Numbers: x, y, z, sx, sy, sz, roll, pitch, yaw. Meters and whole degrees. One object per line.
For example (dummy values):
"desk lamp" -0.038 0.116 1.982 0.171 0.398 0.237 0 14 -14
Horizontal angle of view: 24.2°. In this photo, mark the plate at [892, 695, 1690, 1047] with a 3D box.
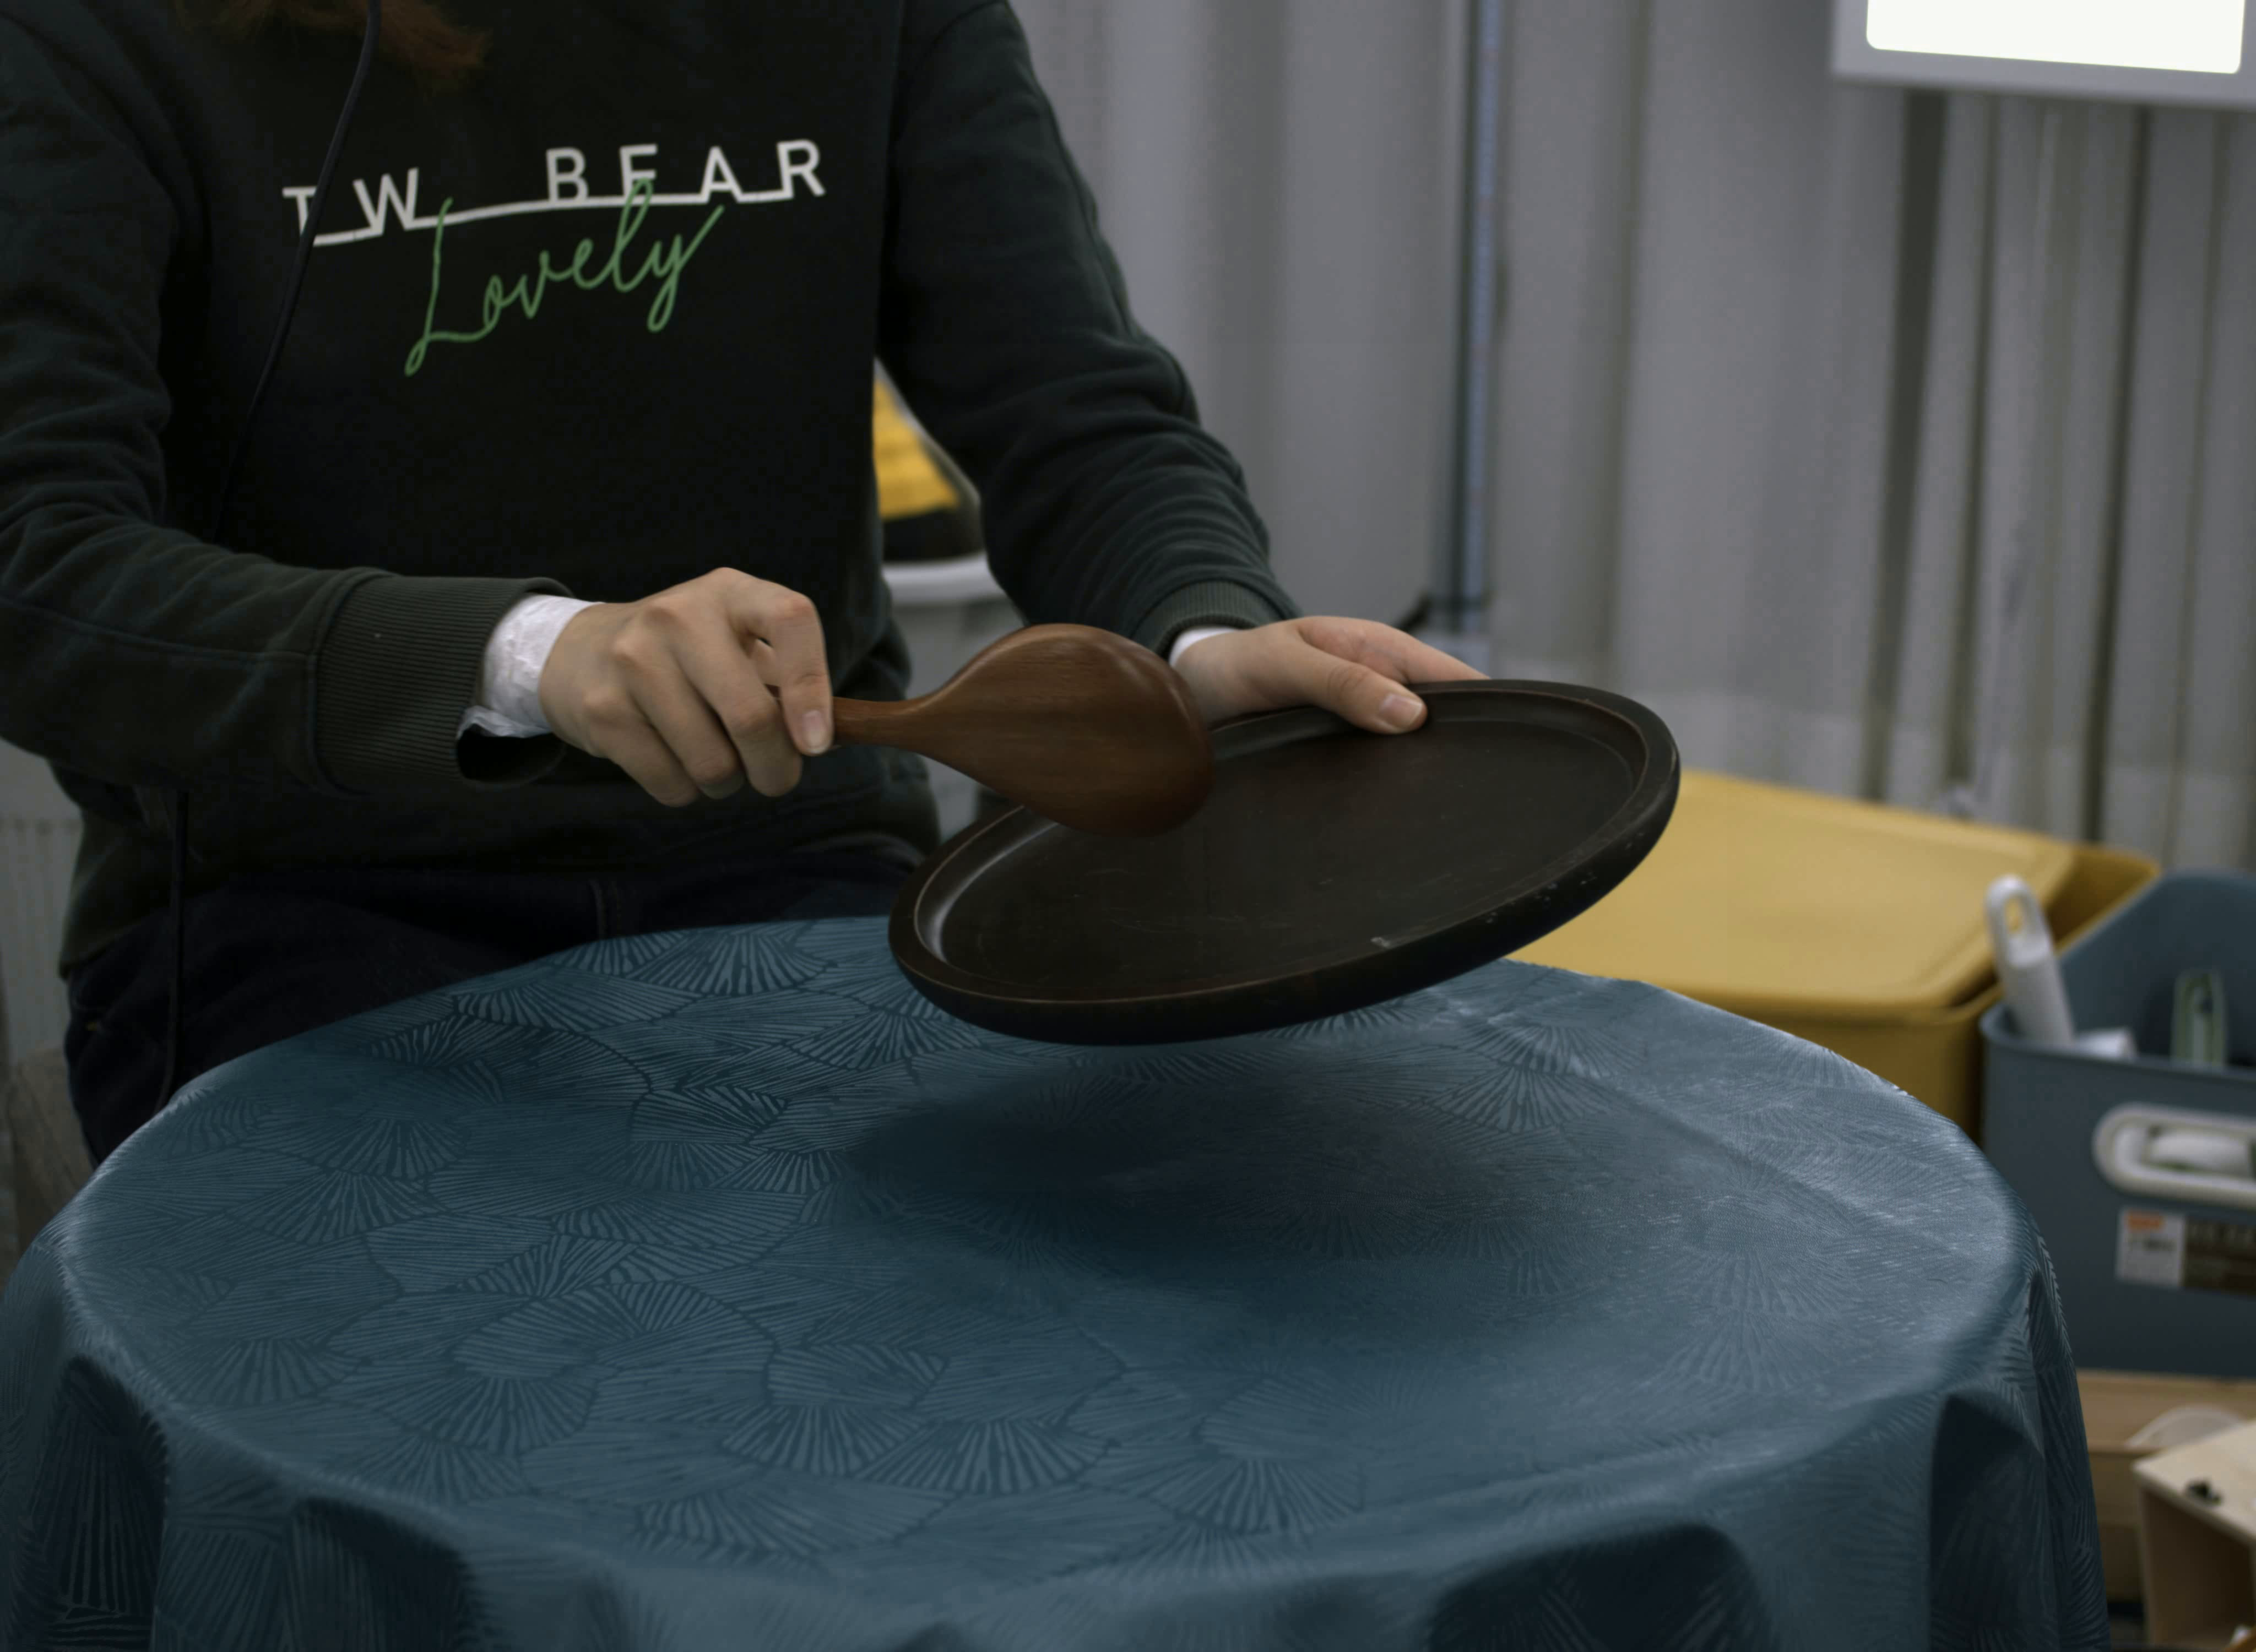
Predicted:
"plate" 0.051 0.012 1.636 0.254 0.029 0.253 -11 19 5

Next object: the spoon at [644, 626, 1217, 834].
"spoon" -0.065 -0.030 1.616 0.213 0.076 0.017 4 38 36
